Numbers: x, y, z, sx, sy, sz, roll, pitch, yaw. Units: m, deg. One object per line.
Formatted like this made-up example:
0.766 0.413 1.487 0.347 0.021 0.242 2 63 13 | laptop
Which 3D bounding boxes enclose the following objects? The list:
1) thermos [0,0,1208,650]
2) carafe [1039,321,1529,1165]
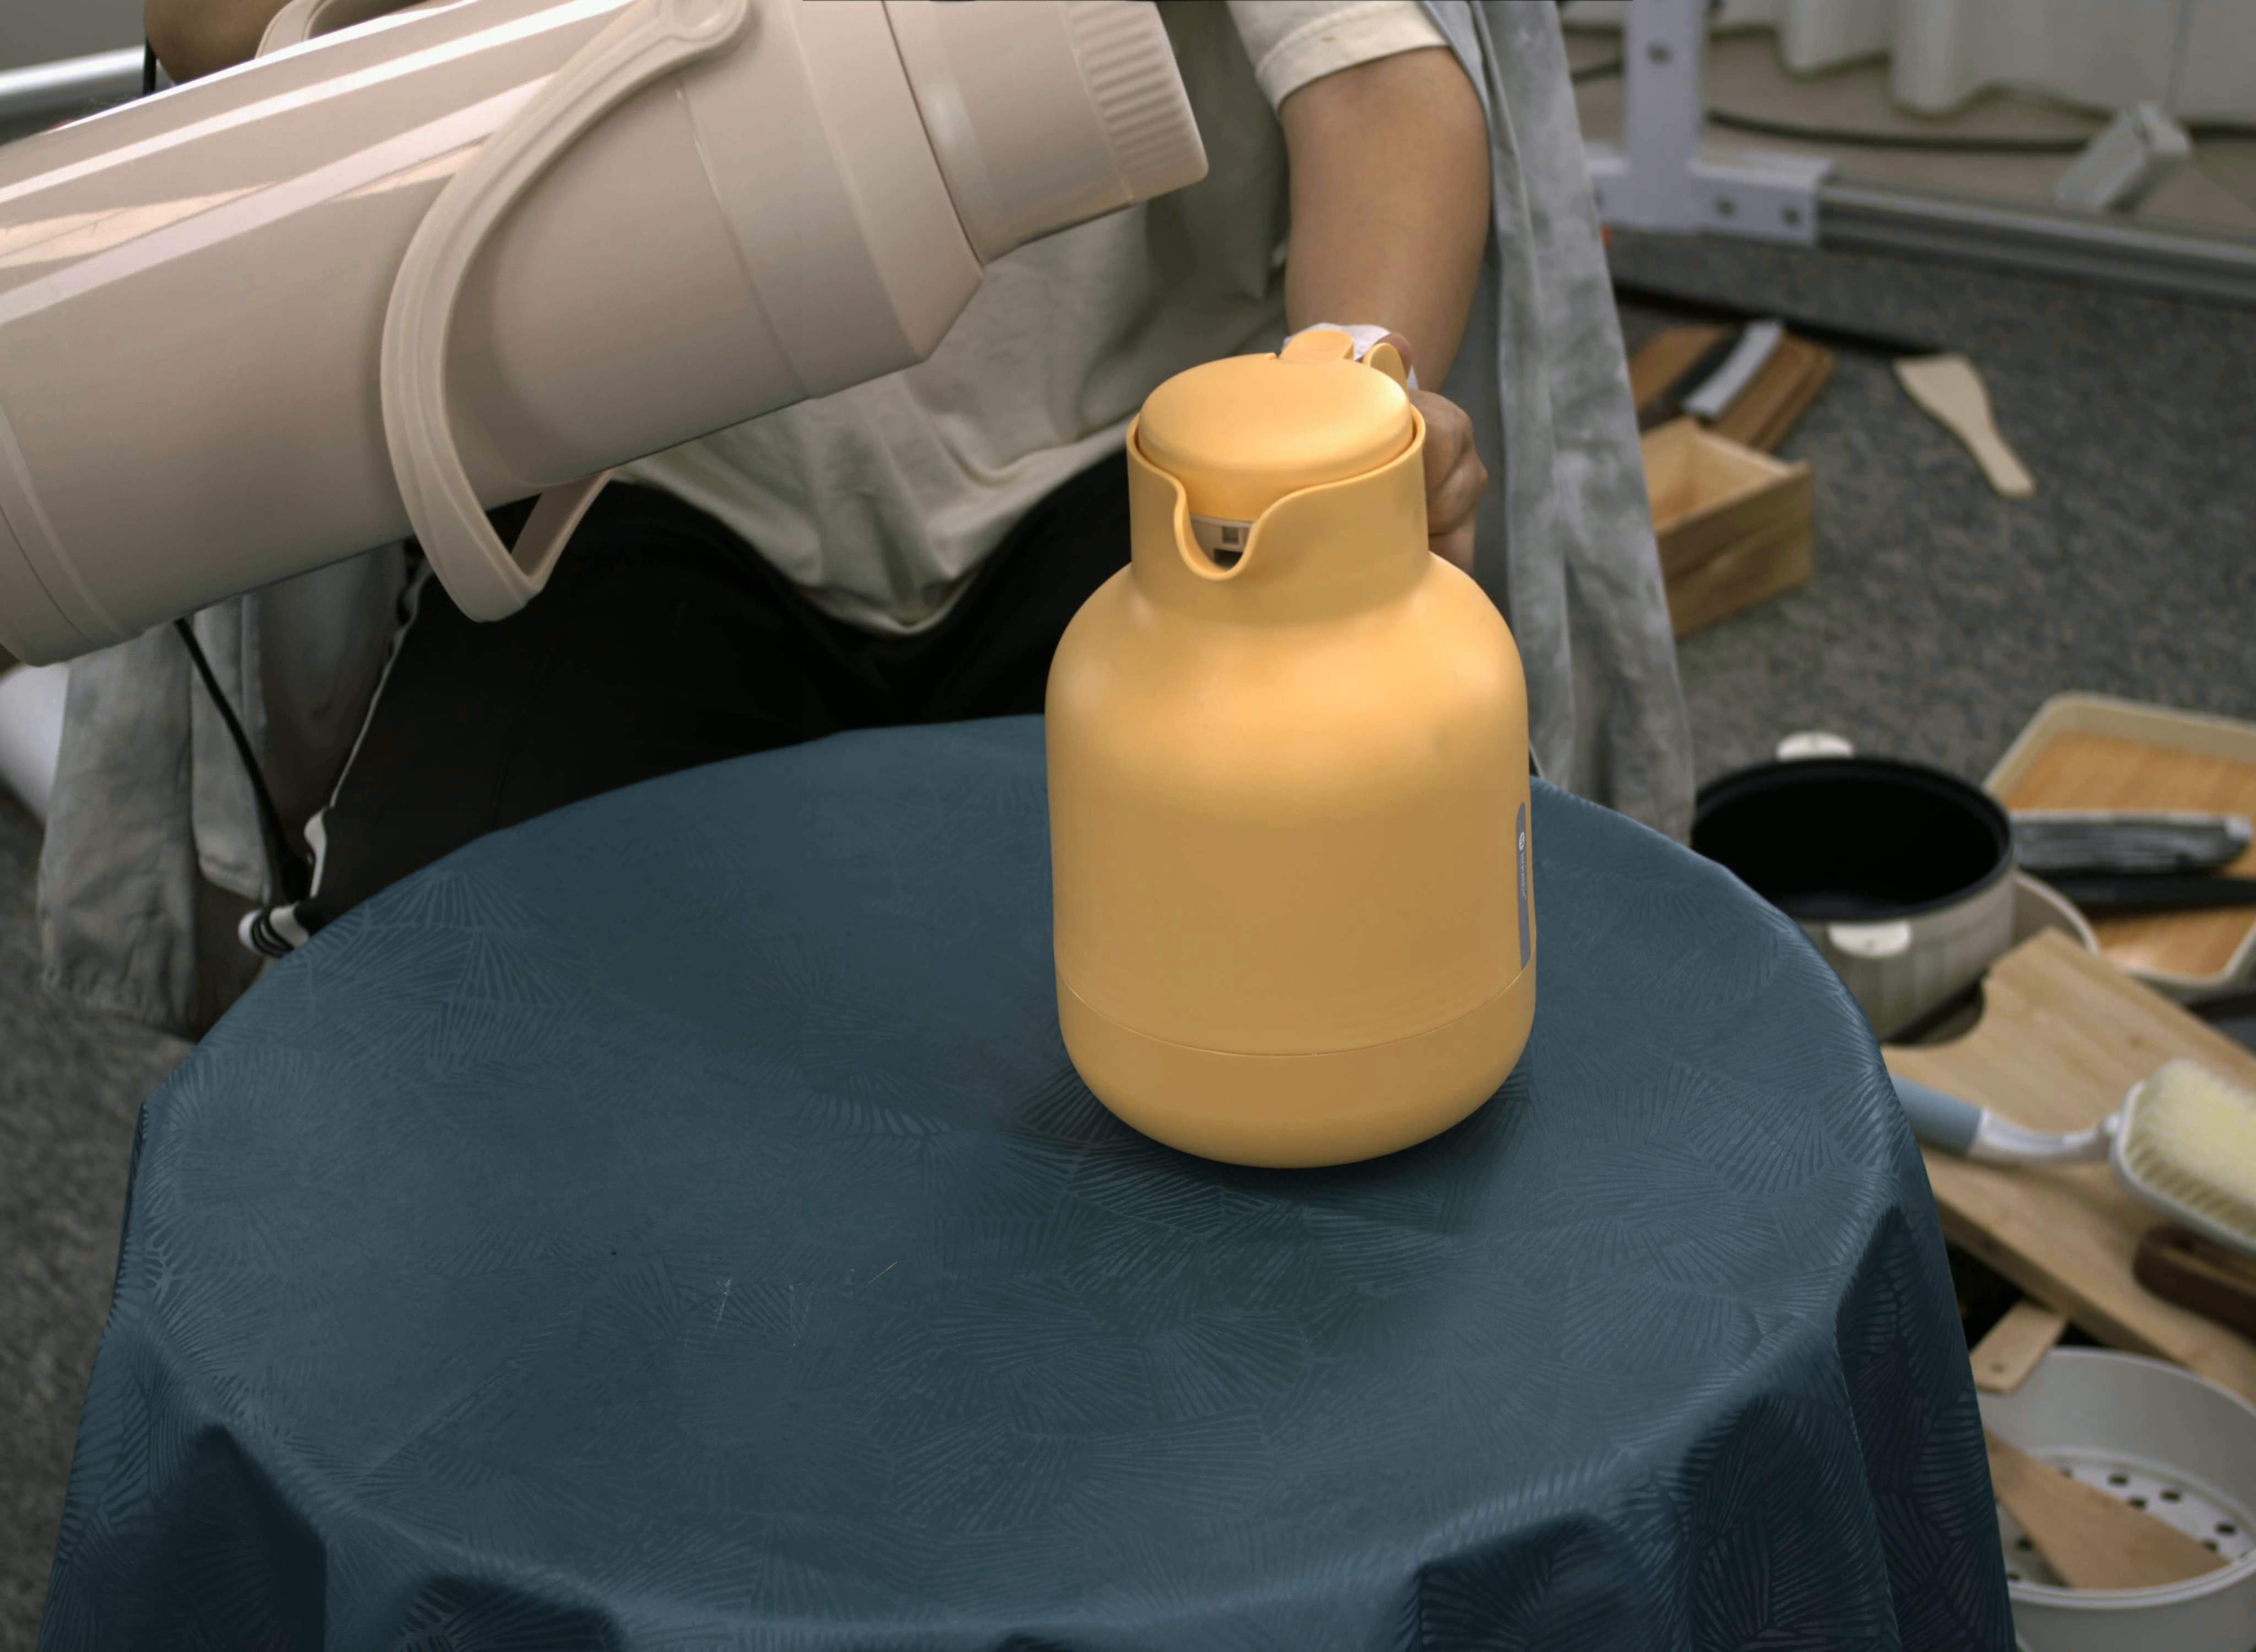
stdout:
-0.184 -0.202 1.766 0.404 0.173 0.210 -19 63 3 | thermos
0.058 -0.037 1.880 0.162 0.257 0.206 8 29 17 | carafe
